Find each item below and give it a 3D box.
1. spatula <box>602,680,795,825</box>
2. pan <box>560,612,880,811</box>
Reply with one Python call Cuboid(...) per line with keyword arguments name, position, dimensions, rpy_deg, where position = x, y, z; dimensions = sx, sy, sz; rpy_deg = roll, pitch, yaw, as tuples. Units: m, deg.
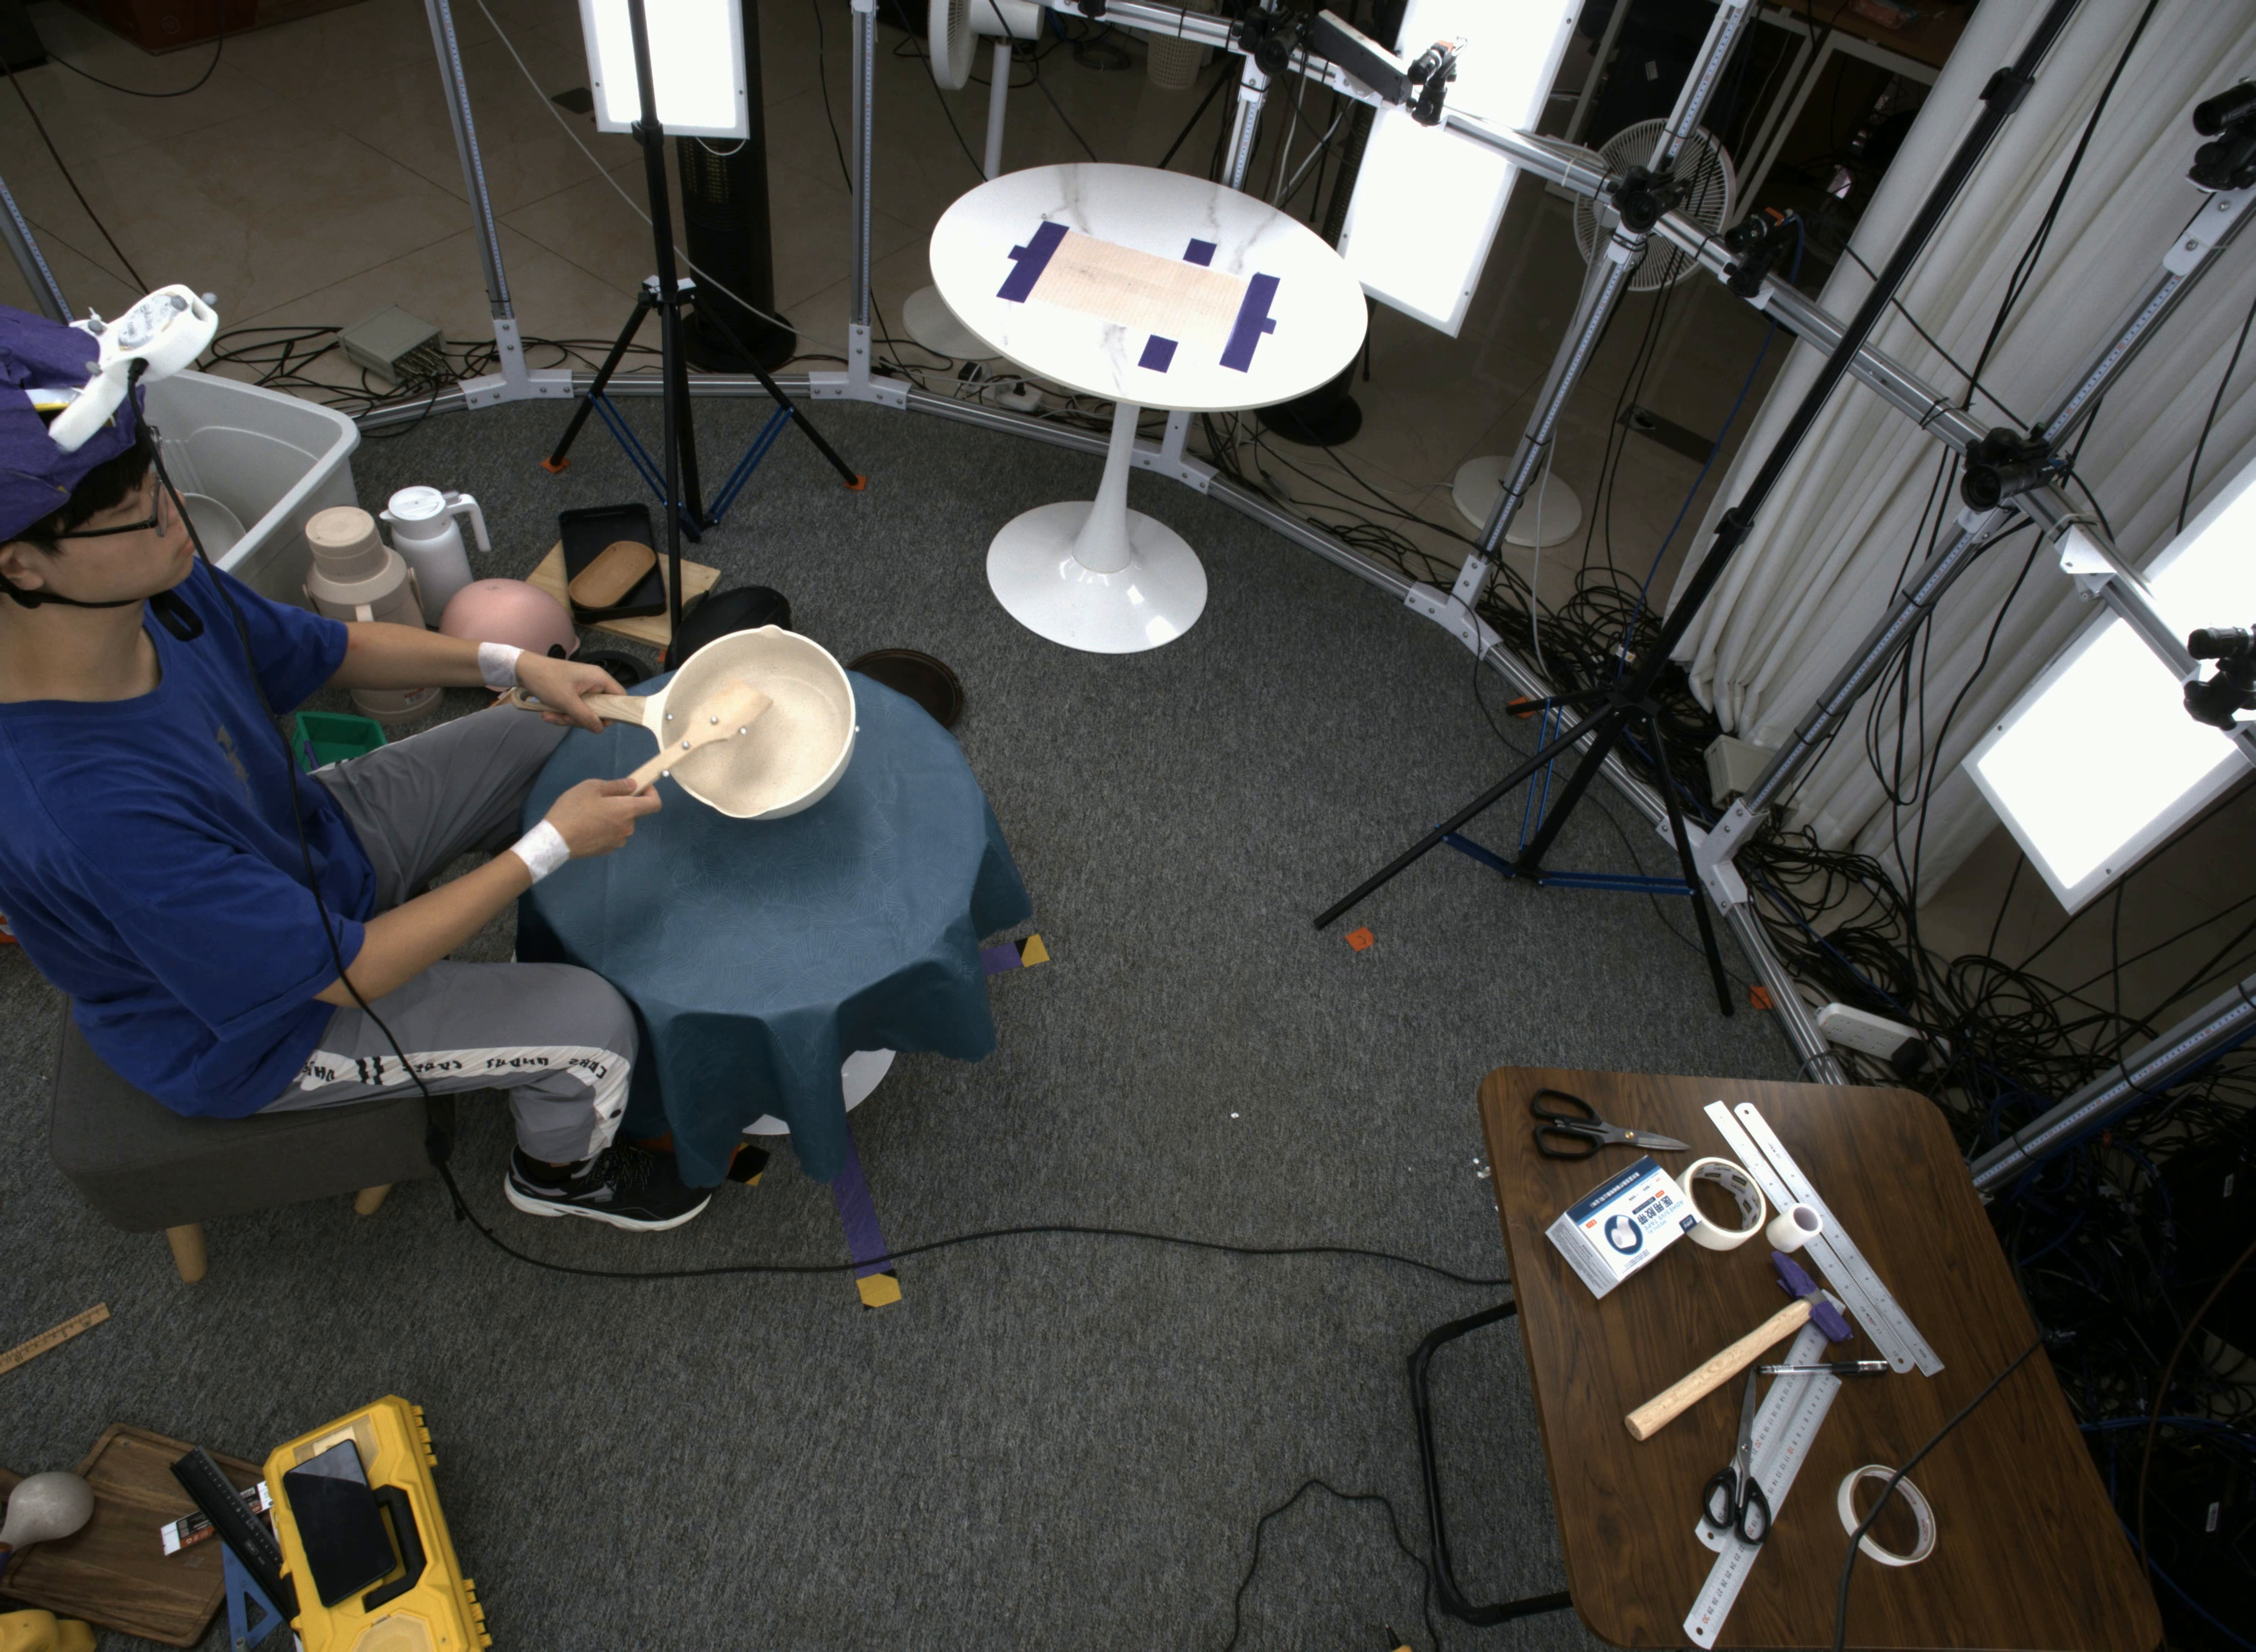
Cuboid(name="spatula", position=(-0.535, -0.090, 1.591), dimensions=(0.070, 0.011, 0.293), rpy_deg=(30, 51, 18))
Cuboid(name="pan", position=(-0.531, -0.144, 1.669), dimensions=(0.430, 0.103, 0.263), rpy_deg=(3, 75, -1))
